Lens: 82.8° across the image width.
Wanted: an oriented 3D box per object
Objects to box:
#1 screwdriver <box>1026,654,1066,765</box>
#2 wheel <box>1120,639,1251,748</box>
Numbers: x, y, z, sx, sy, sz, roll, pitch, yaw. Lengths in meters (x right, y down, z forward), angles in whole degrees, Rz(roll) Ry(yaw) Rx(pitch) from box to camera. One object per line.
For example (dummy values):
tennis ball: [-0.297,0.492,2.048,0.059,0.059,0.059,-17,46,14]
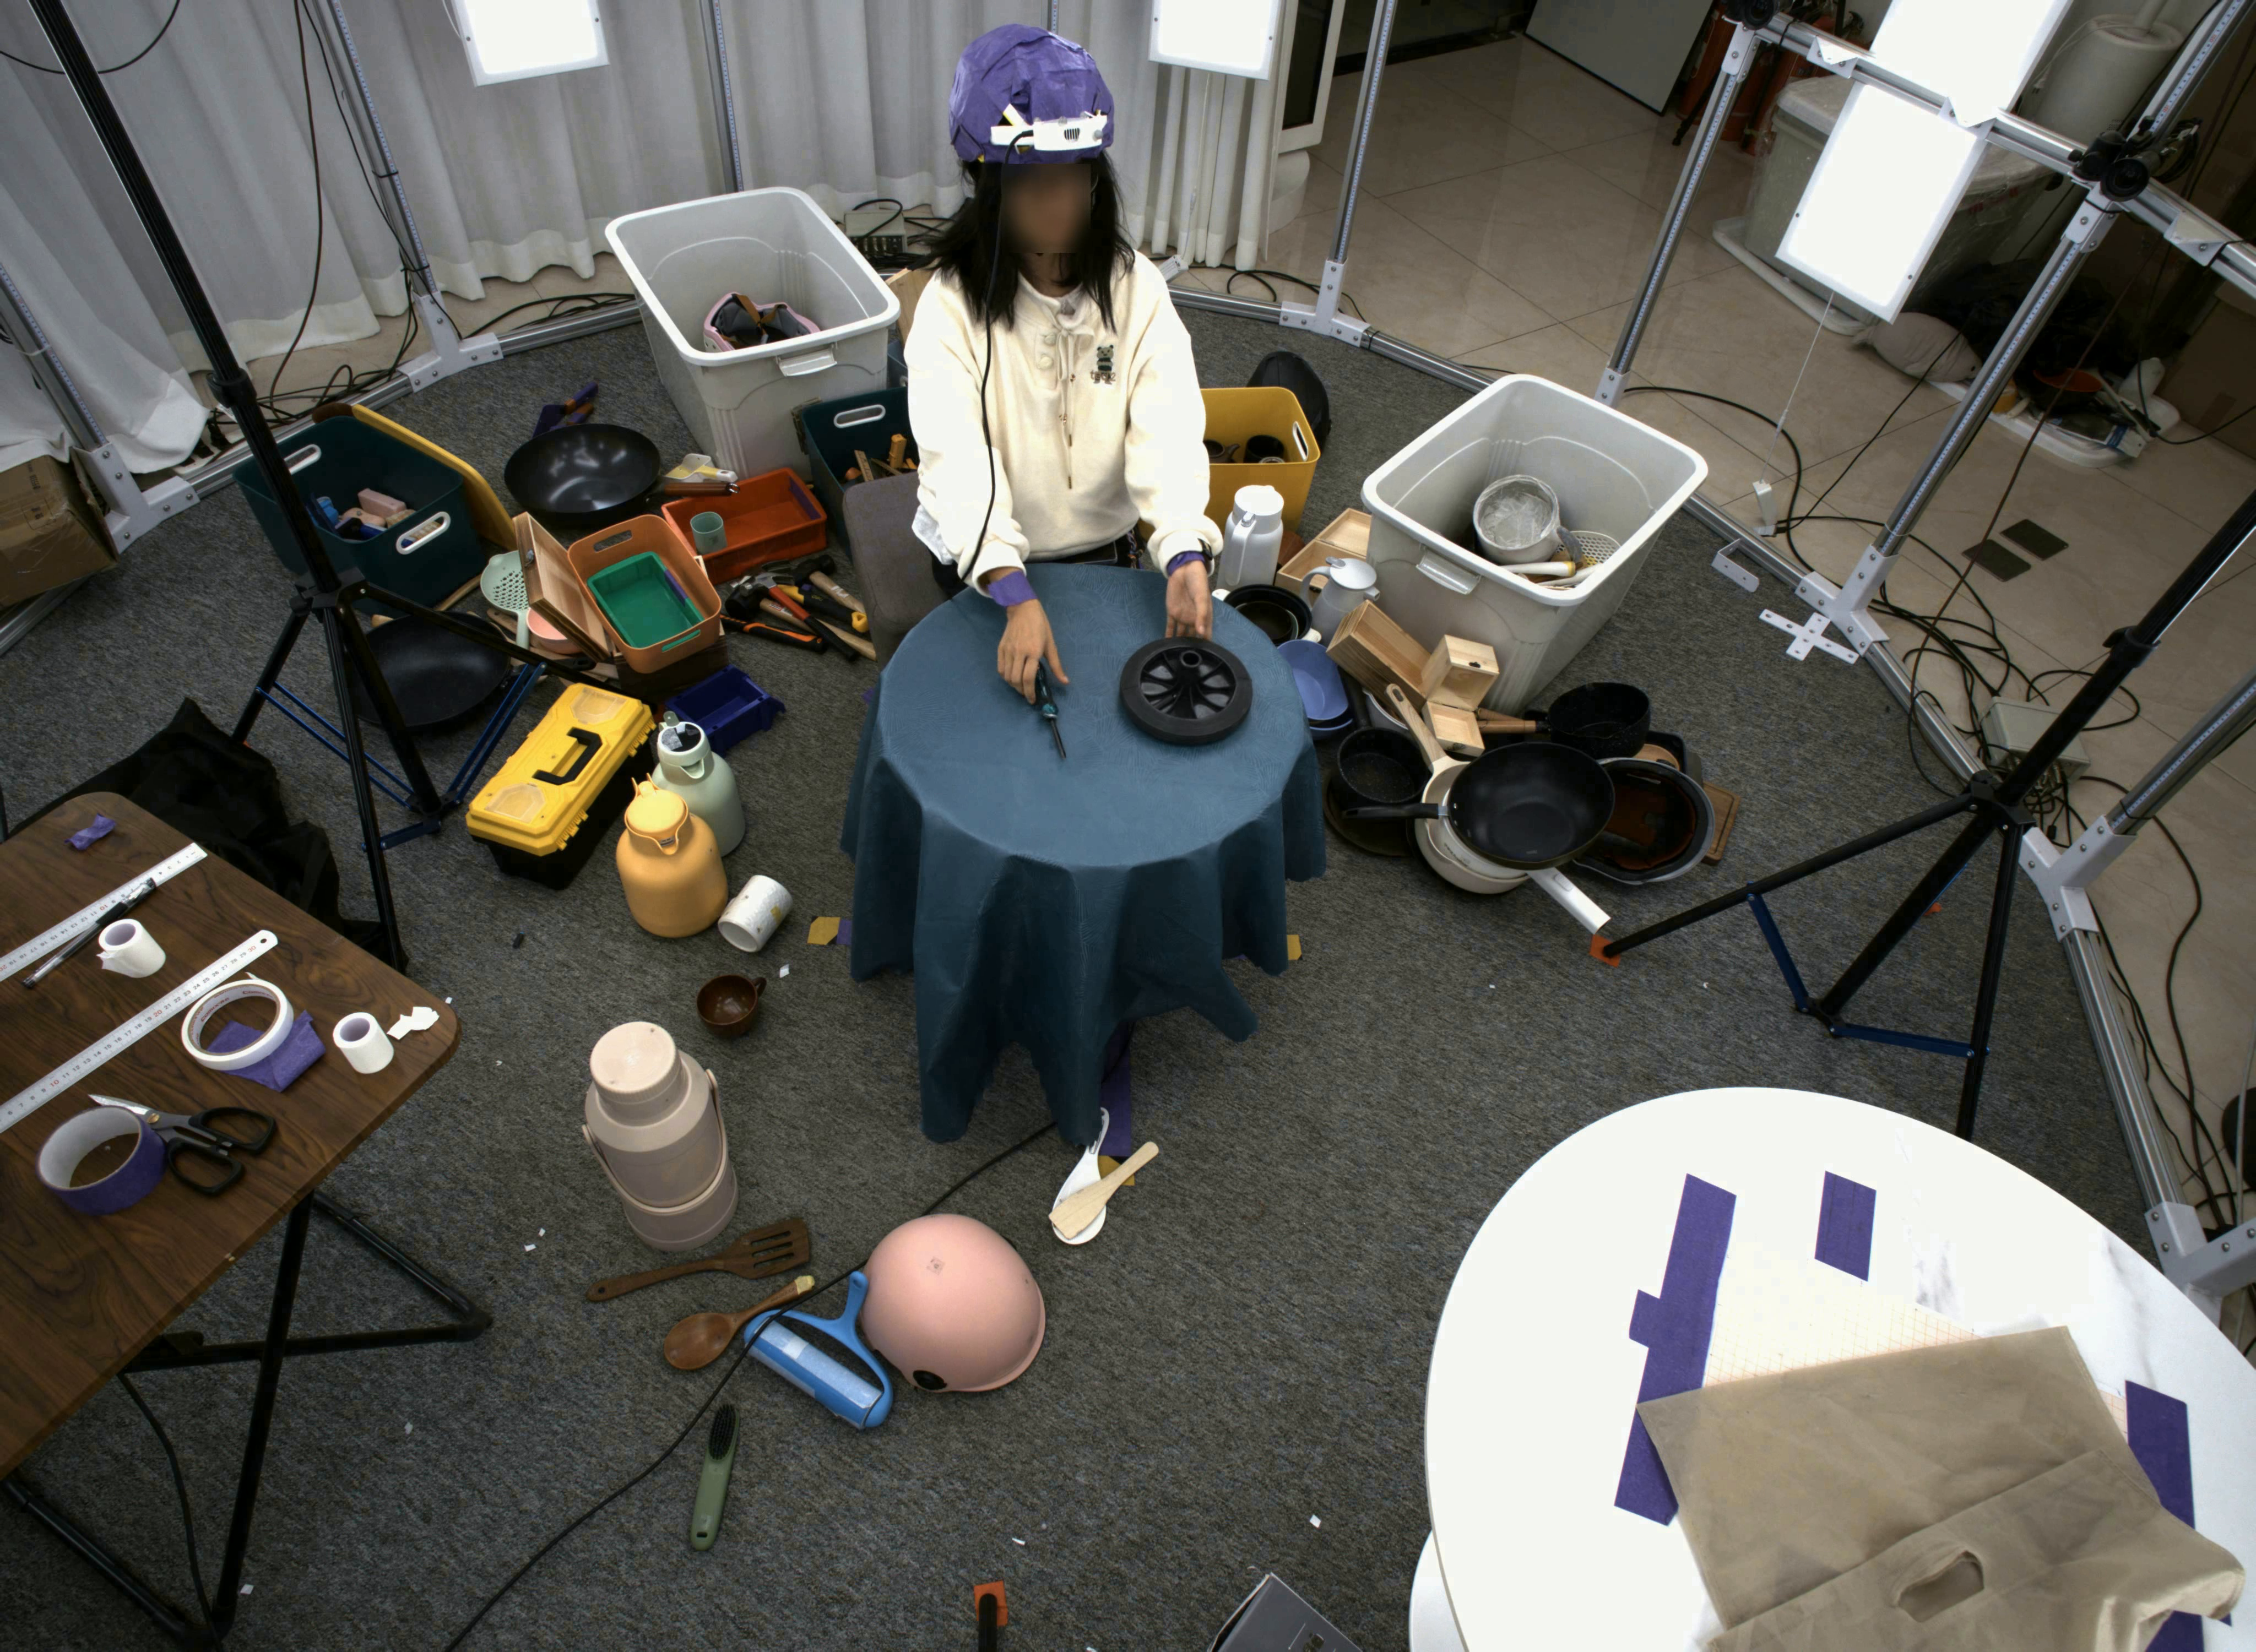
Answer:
screwdriver: [-0.111,-0.162,1.787,0.033,0.033,0.194,-9,57,-13]
wheel: [0.082,-0.202,1.802,0.188,0.077,0.193,23,57,13]
